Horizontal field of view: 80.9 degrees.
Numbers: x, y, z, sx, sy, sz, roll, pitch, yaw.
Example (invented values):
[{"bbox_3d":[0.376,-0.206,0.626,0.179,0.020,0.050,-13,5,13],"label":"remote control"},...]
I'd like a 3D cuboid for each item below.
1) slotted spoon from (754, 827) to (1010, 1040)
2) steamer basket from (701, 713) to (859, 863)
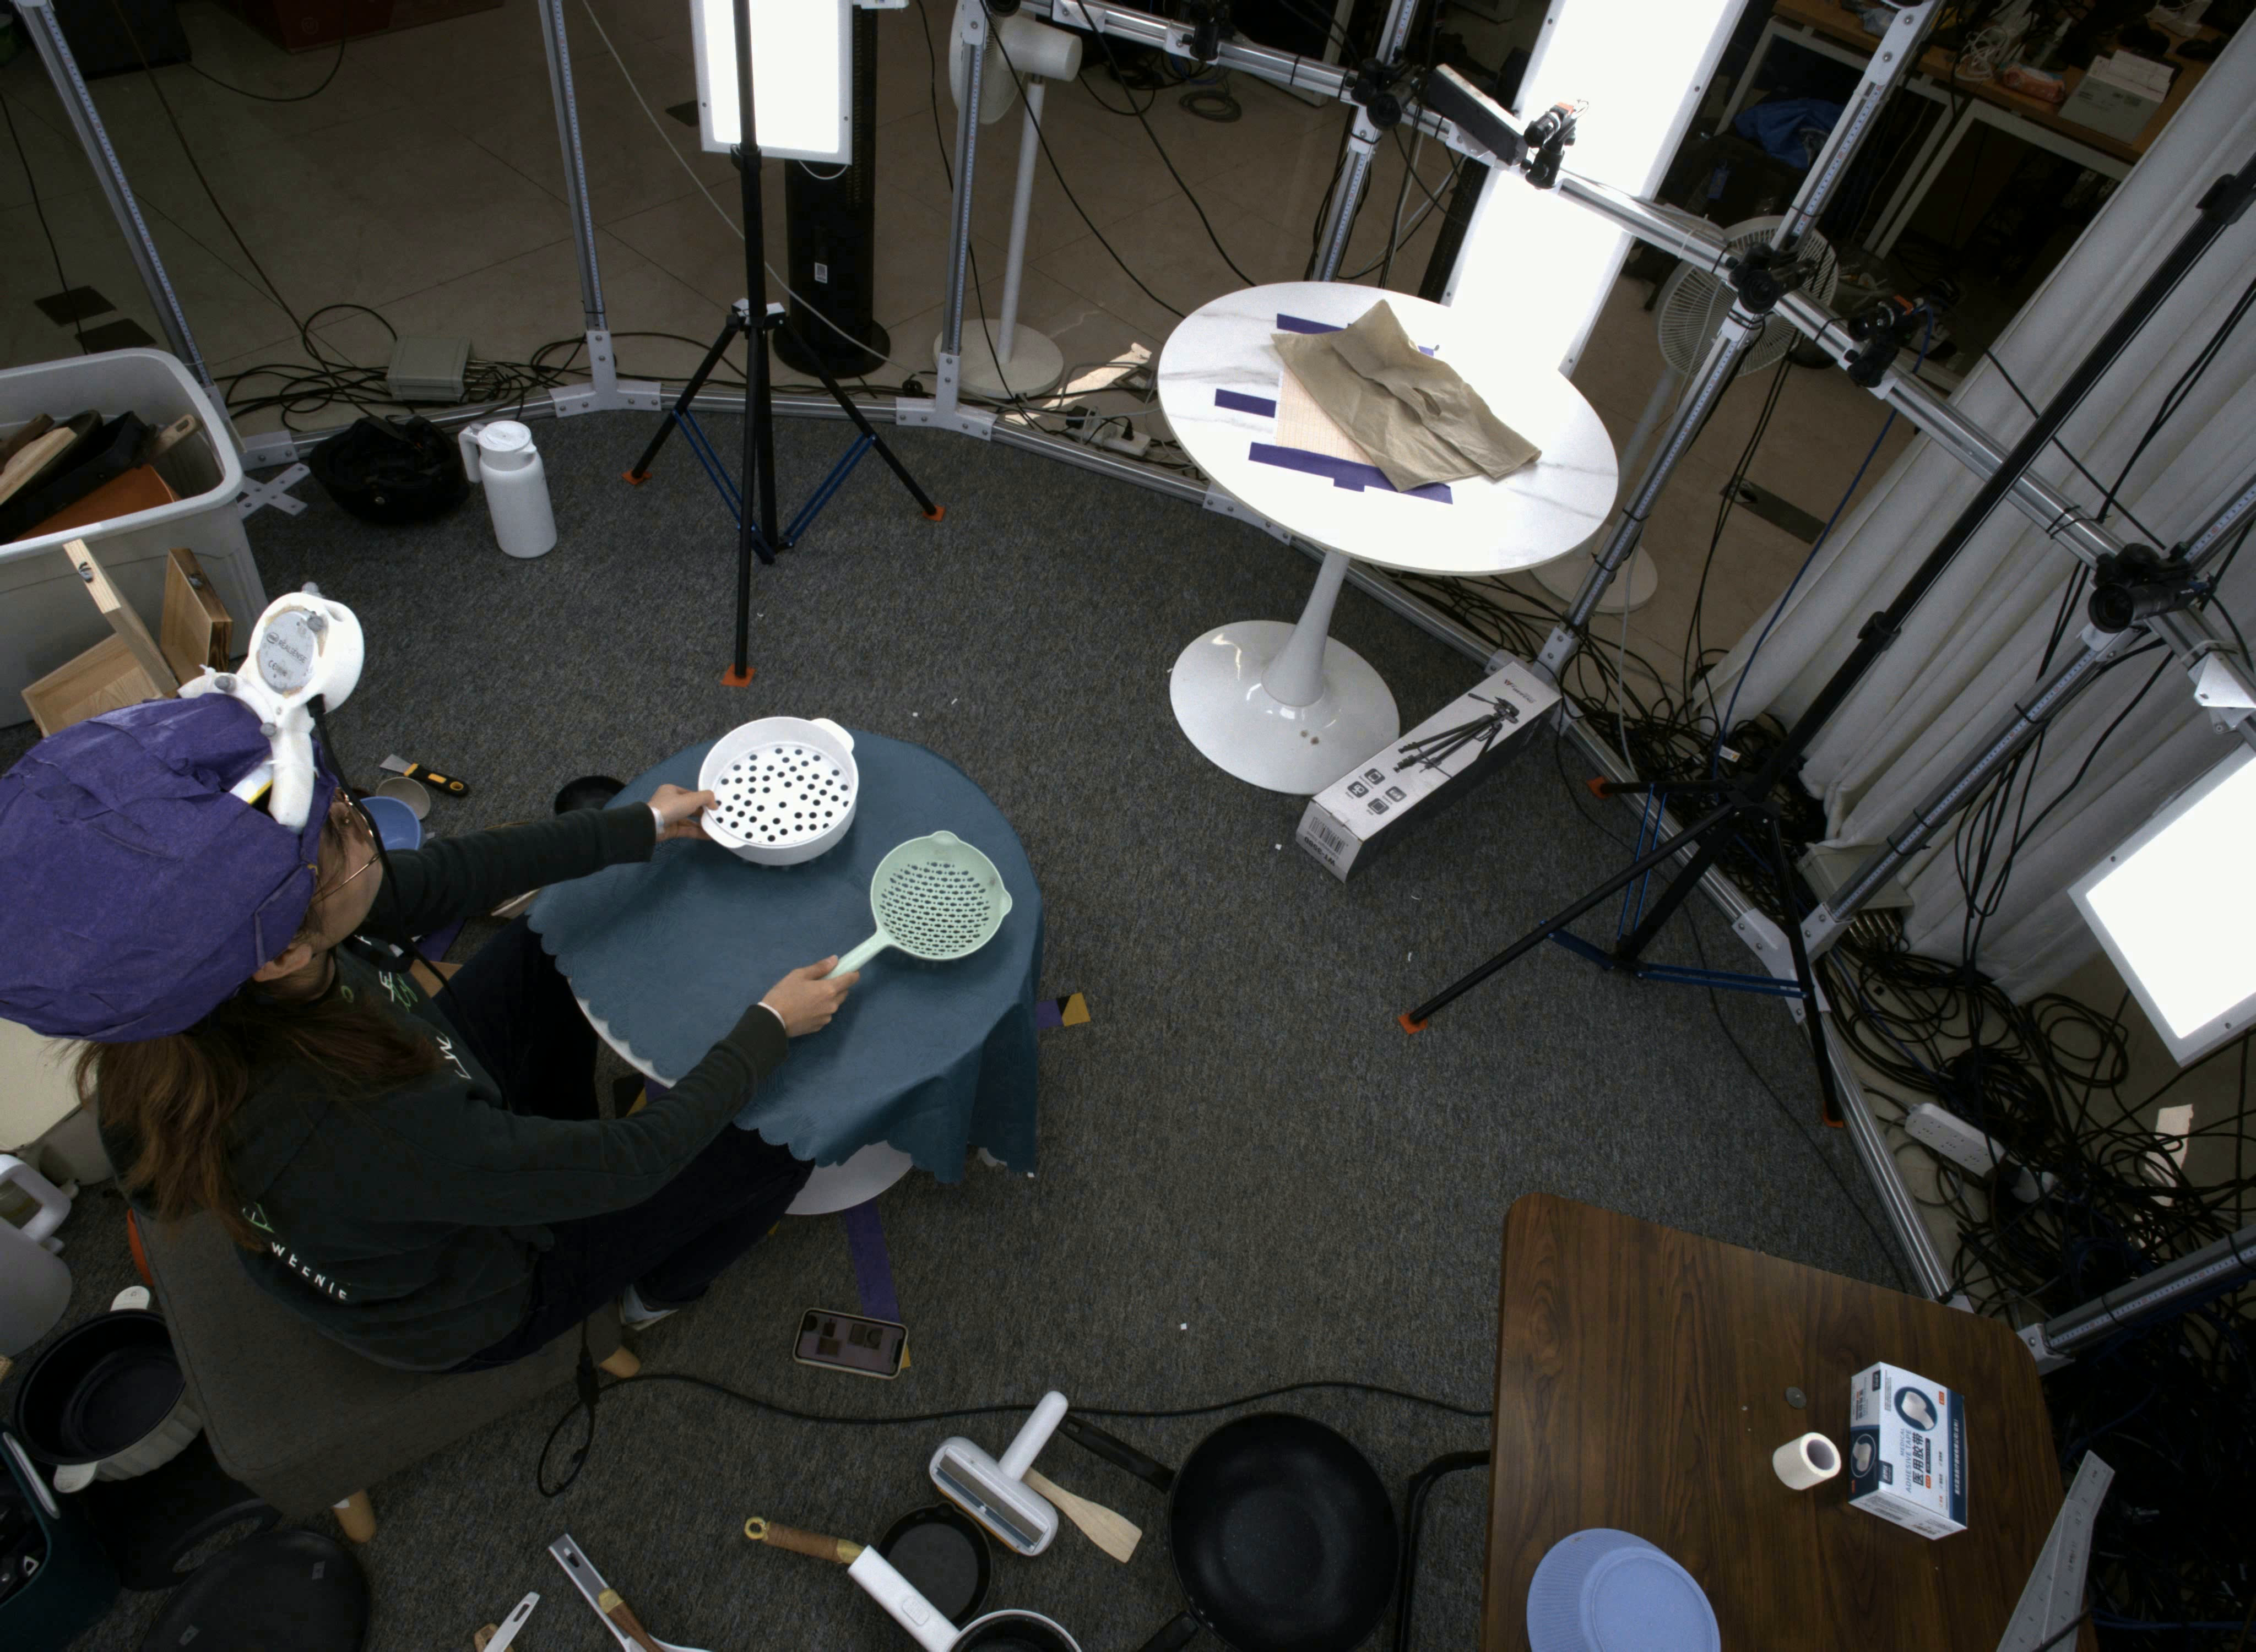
[{"bbox_3d":[-0.308,0.142,1.595,0.167,0.076,0.360,47,51,9],"label":"slotted spoon"},{"bbox_3d":[-0.452,-0.048,1.695,0.198,0.070,0.230,35,61,10],"label":"steamer basket"}]
